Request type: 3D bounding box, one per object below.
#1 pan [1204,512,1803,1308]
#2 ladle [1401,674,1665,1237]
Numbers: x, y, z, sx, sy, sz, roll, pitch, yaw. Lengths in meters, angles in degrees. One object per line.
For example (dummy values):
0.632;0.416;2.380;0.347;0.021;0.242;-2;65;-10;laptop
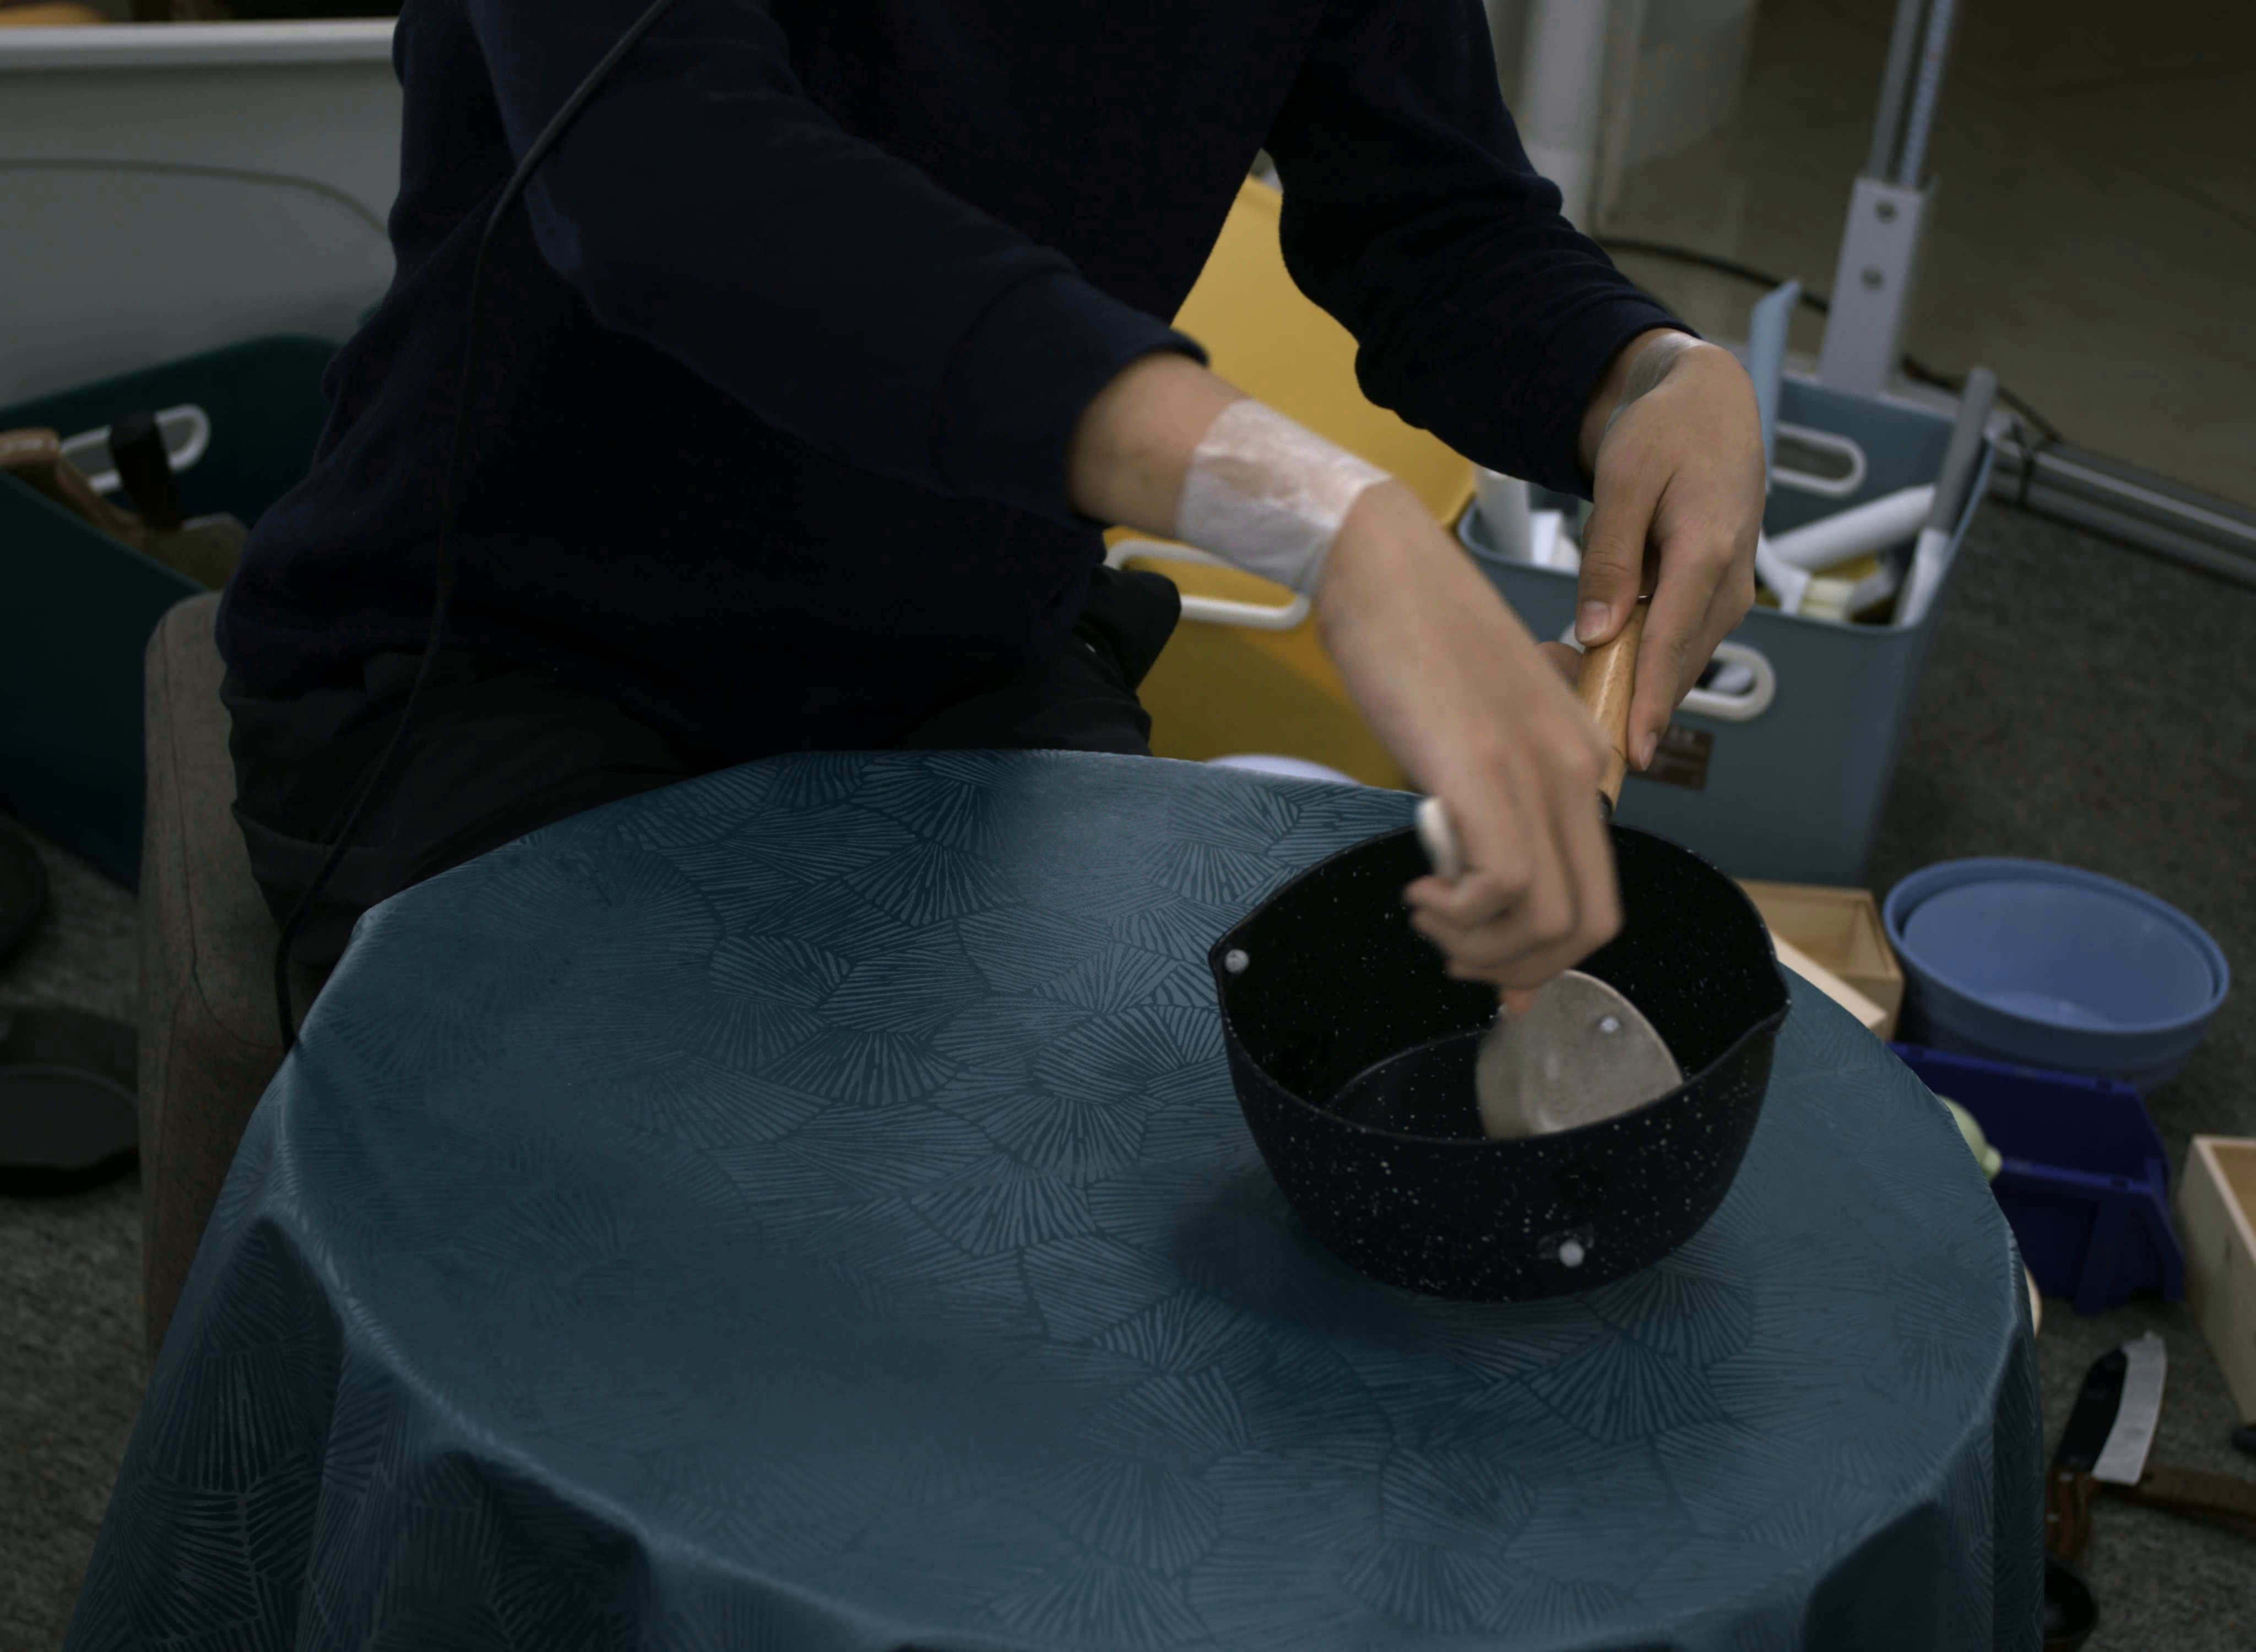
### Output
0.146;0.026;1.842;0.208;0.107;0.344;3;37;18;pan
0.129;0.034;1.641;0.069;0.273;0.090;2;57;10;ladle
